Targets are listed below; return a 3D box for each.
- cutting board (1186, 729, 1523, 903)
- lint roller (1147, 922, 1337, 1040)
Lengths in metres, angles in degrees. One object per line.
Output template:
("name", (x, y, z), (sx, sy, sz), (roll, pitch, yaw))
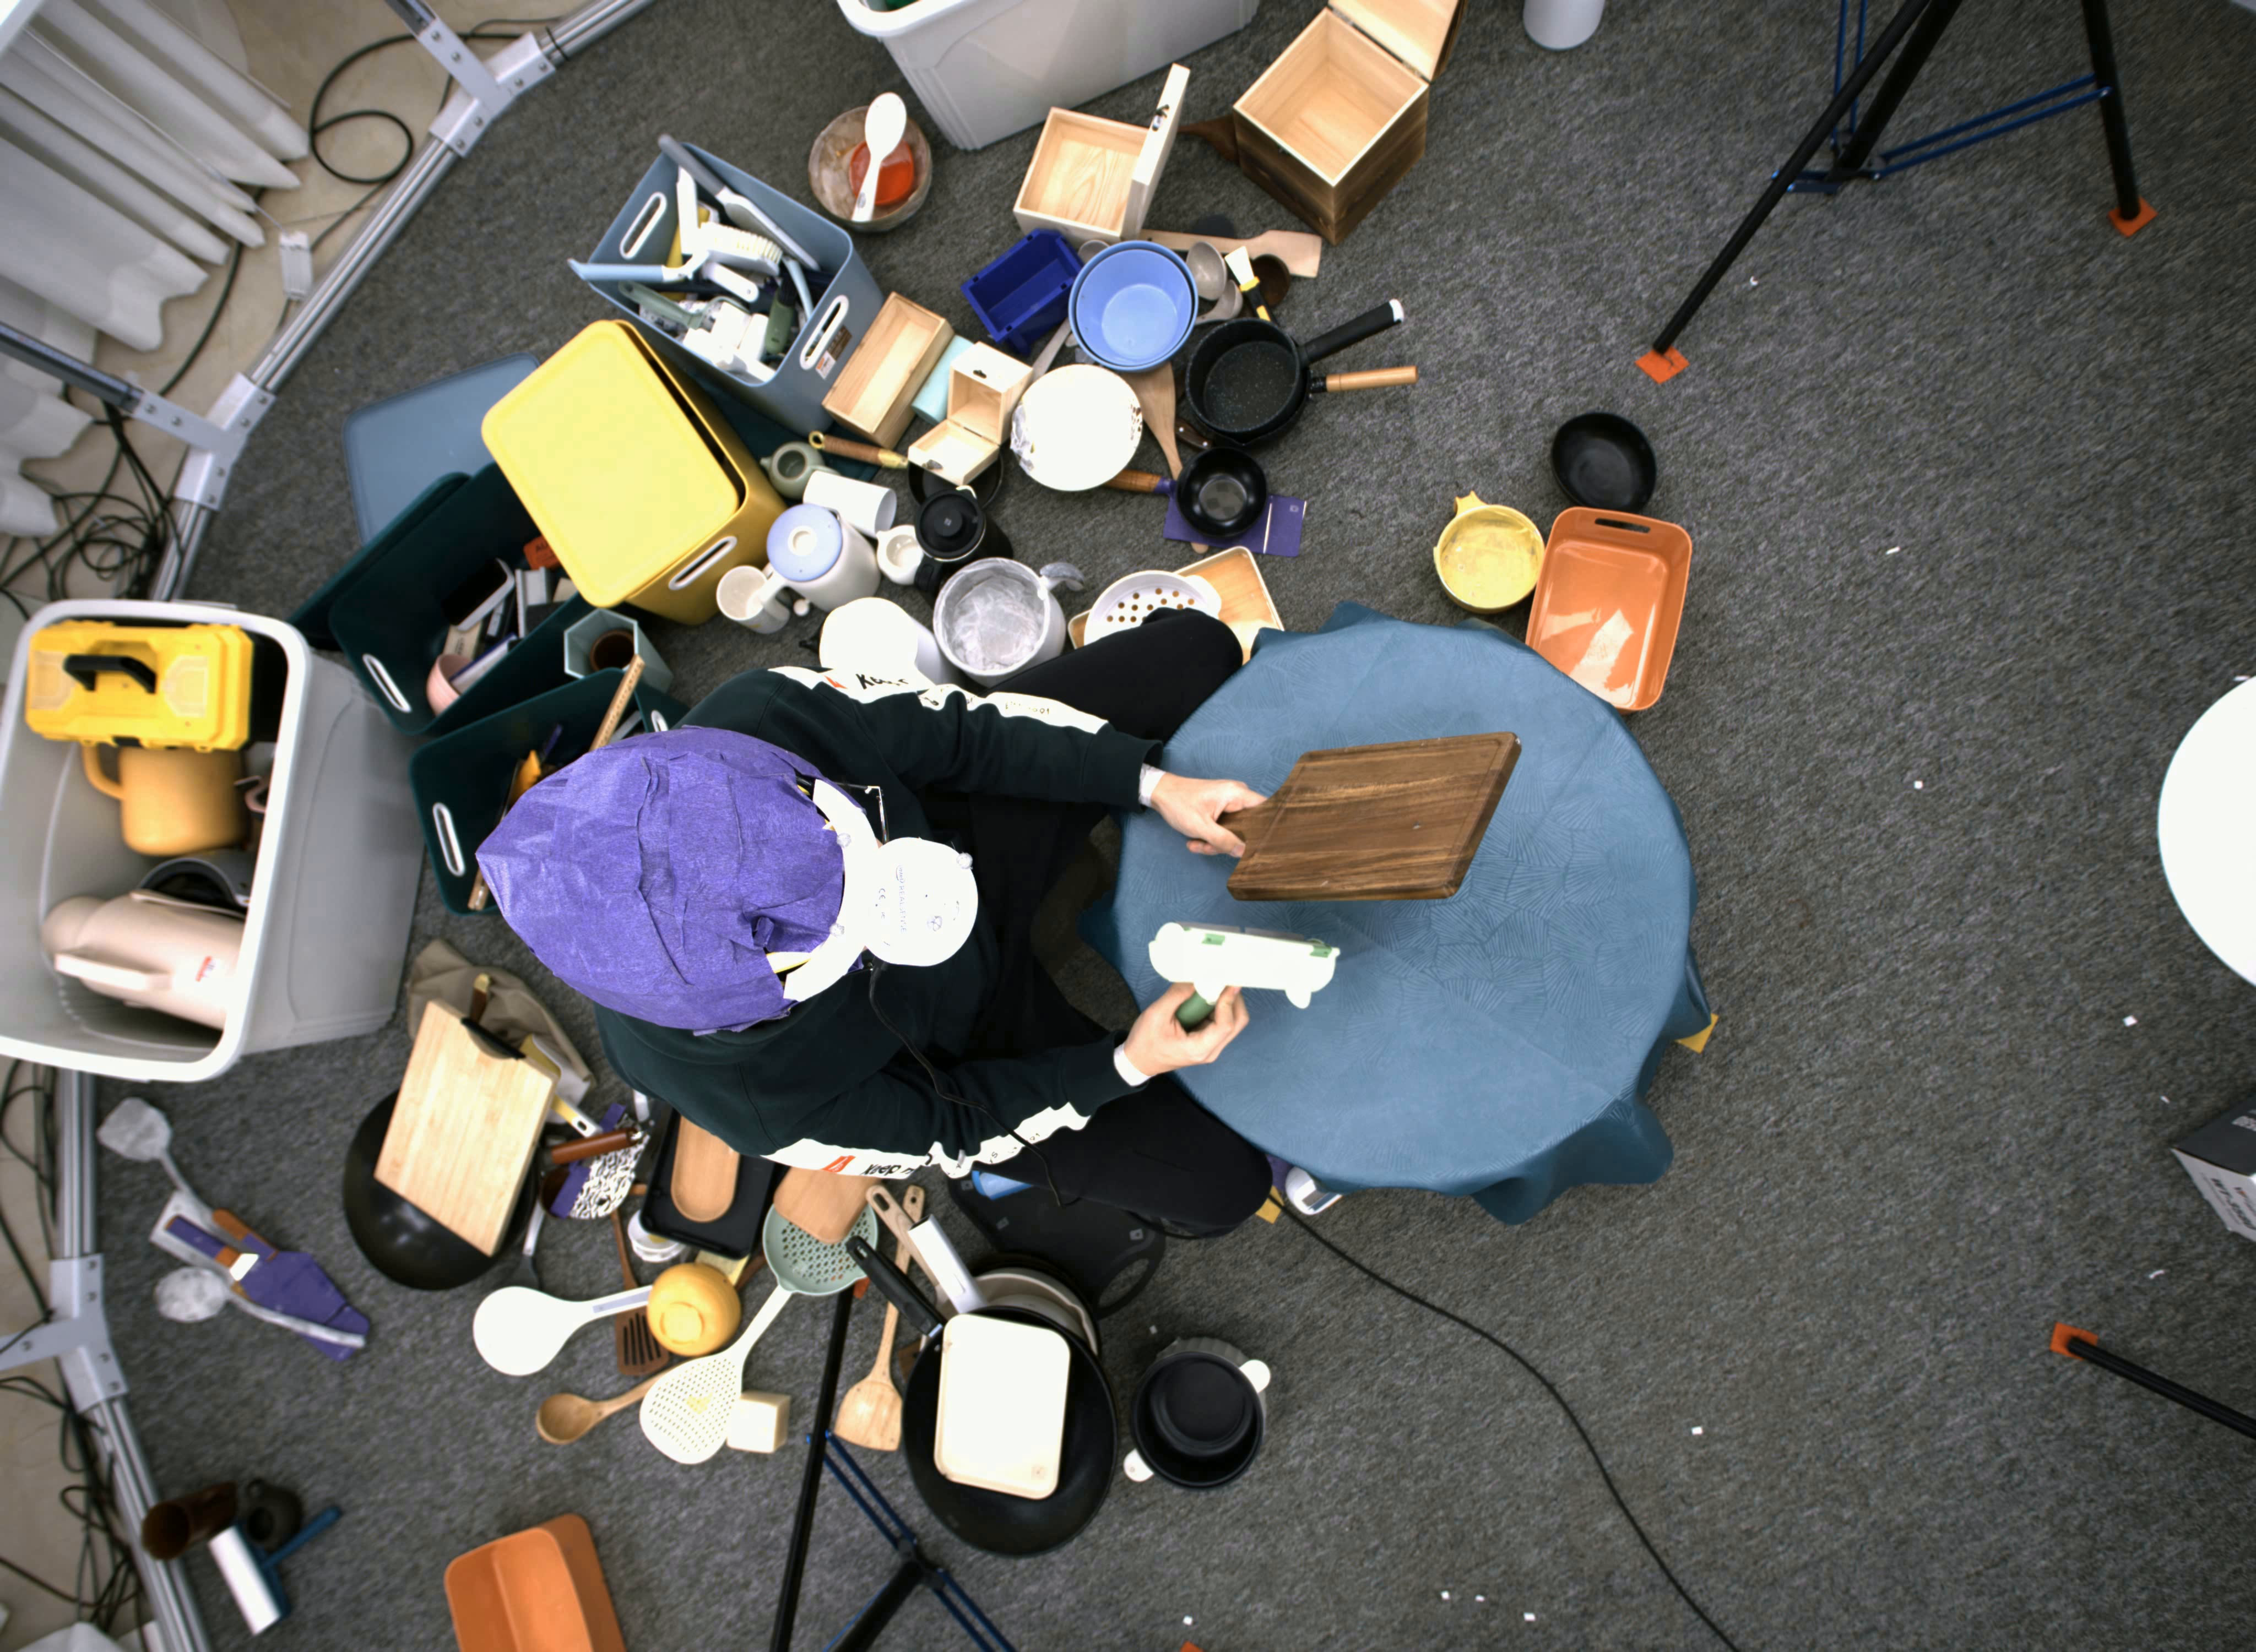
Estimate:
("cutting board", (0.194, -0.007, 1.335), (0.355, 0.023, 0.196), (-4, 44, 45))
("lint roller", (0.087, 0.170, 1.355), (0.187, 0.198, 0.080), (-56, 43, 31))
